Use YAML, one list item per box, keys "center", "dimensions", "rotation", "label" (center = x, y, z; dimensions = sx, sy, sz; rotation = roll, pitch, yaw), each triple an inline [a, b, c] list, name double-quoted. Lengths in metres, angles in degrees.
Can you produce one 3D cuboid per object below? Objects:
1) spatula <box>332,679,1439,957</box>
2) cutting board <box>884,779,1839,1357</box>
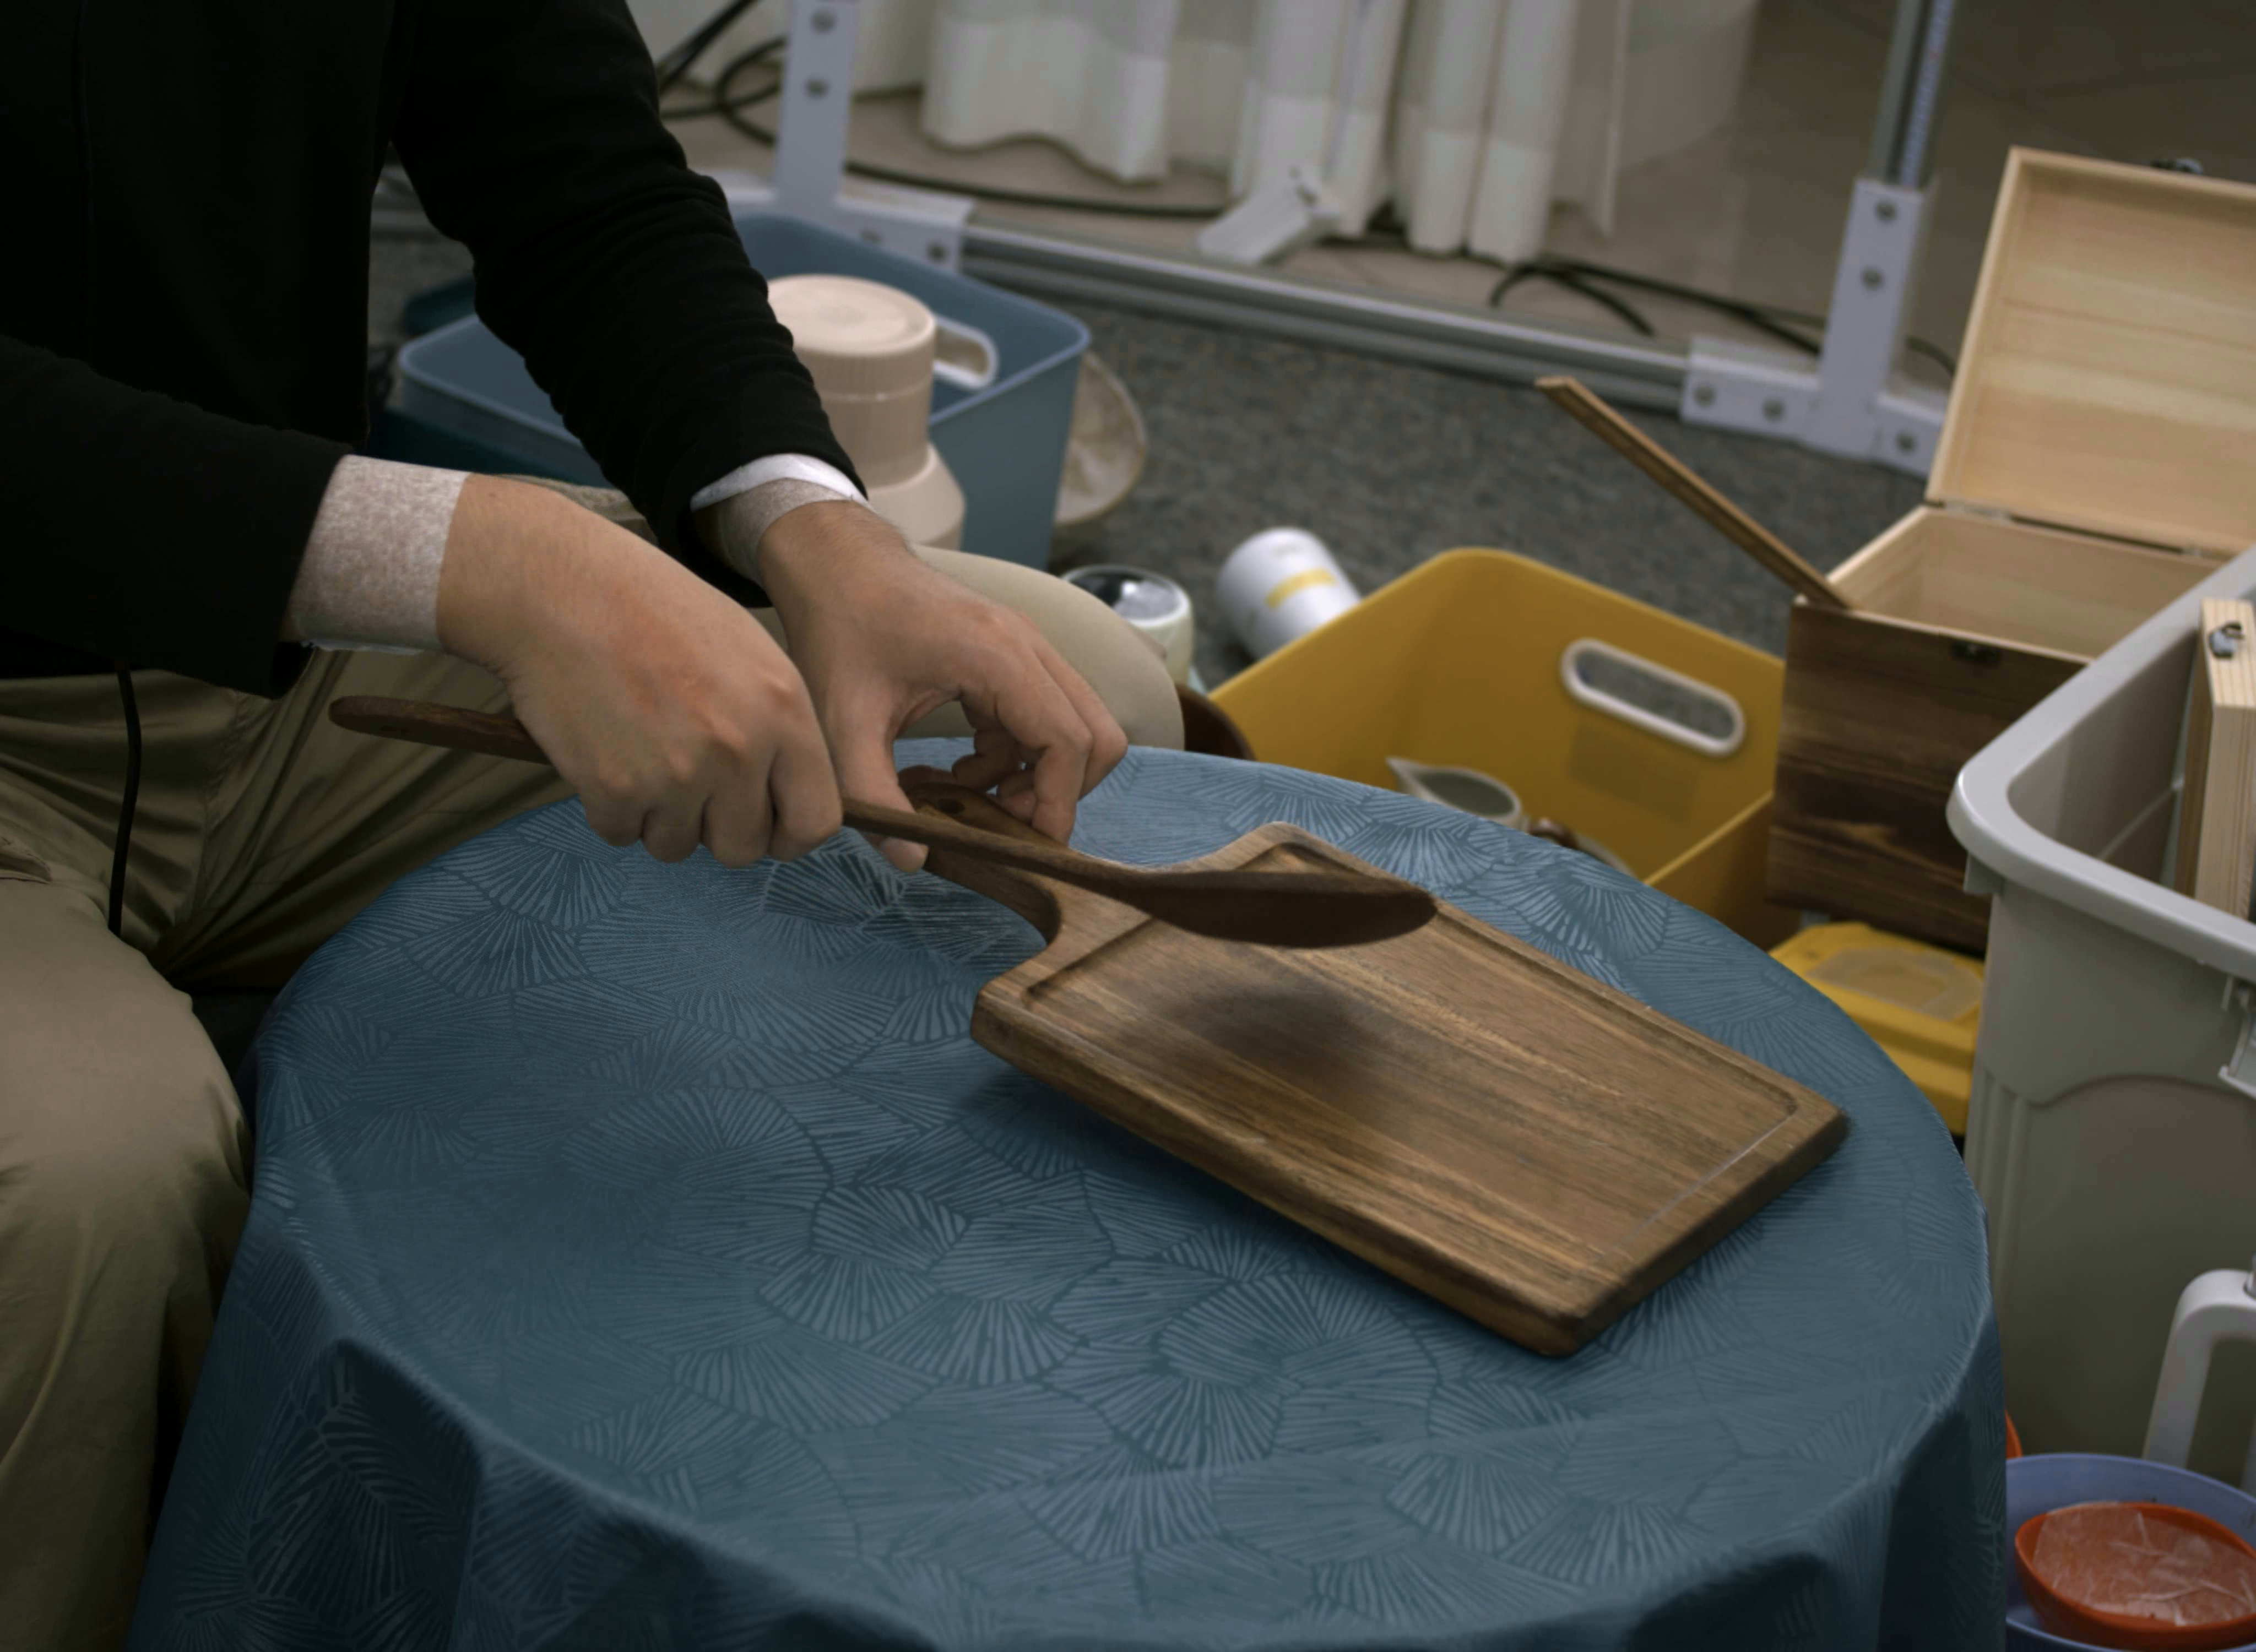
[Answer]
- center: [-0.080, -0.002, 1.794]
  dimensions: [0.383, 0.016, 0.096]
  rotation: [14, -17, -16]
  label: "spatula"
- center: [0.058, 0.065, 1.876]
  dimensions: [0.354, 0.023, 0.200]
  rotation: [27, 33, 26]
  label: "cutting board"
